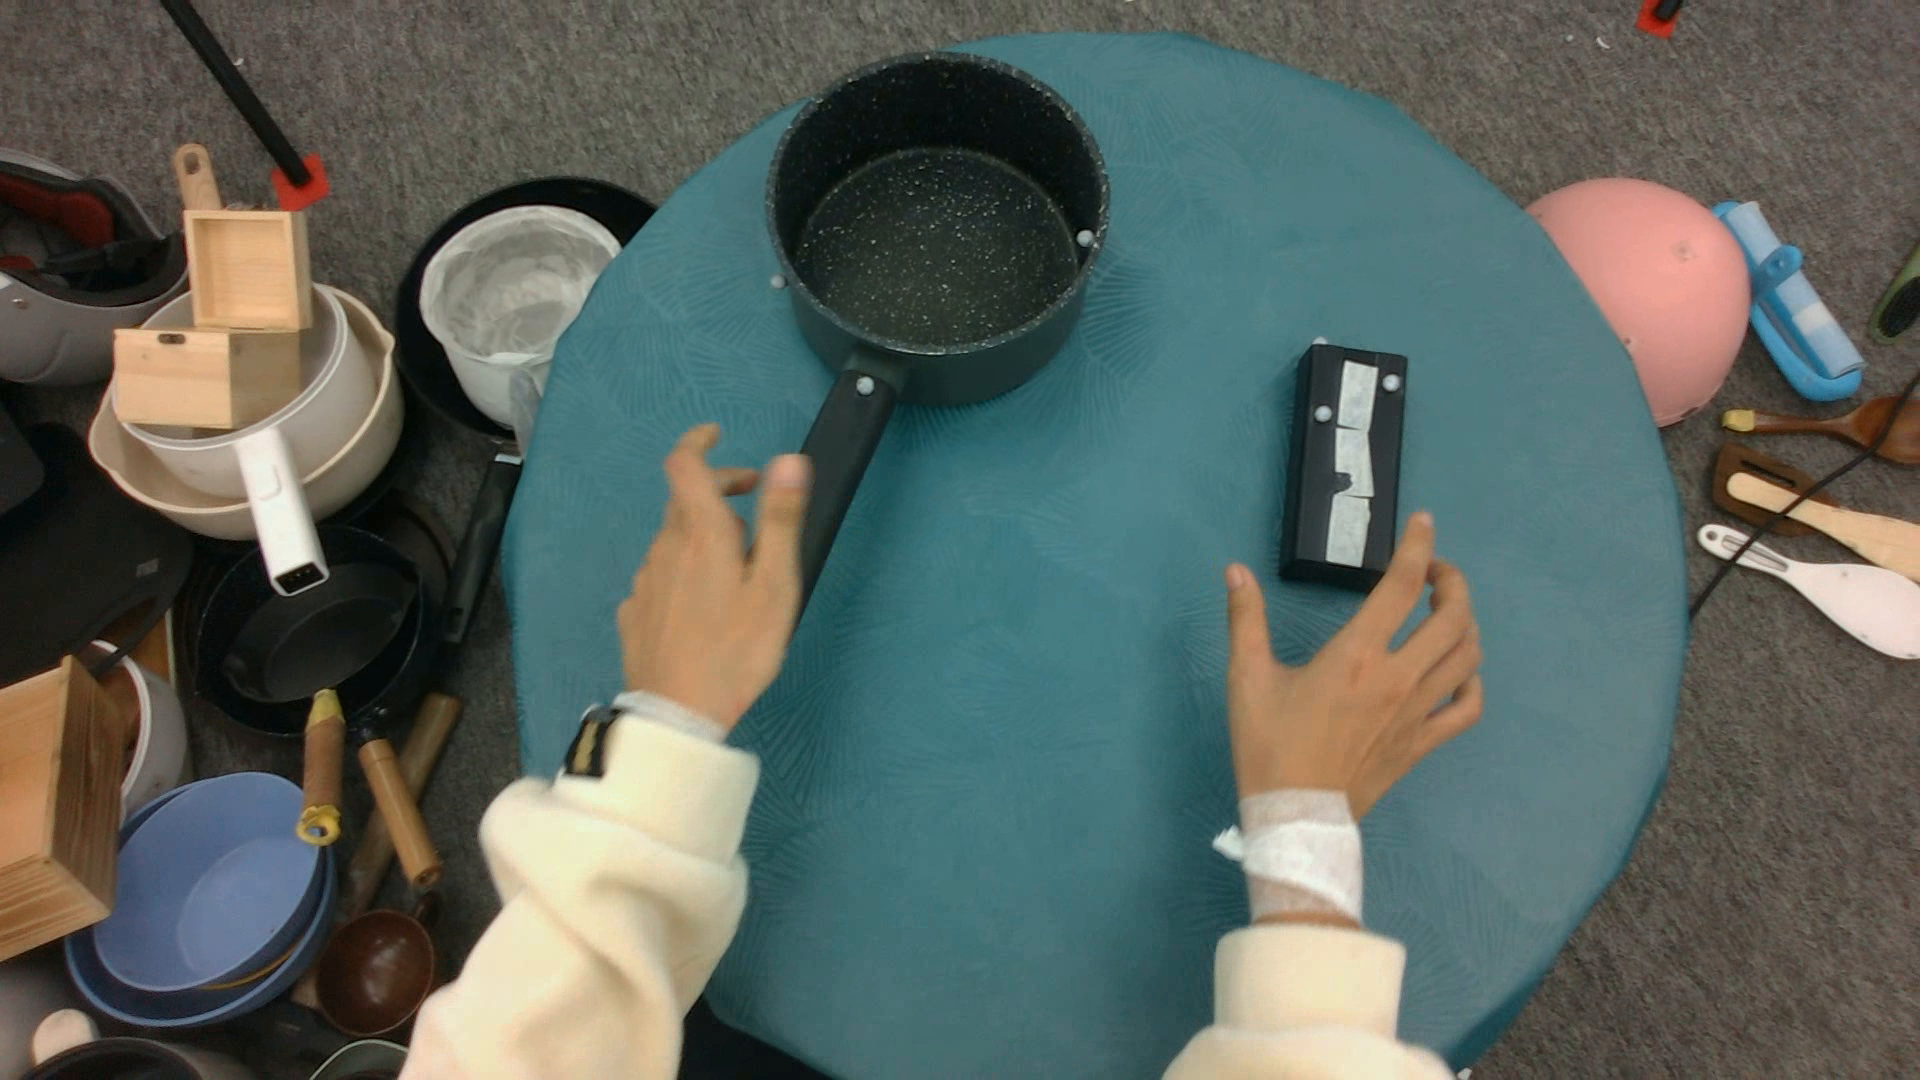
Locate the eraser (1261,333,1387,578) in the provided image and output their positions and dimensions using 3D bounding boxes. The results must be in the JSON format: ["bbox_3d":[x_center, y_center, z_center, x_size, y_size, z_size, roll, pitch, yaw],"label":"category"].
[{"bbox_3d":[0.187,-0.045,0.708,0.053,0.030,0.126,9,71,2],"label":"eraser"}]

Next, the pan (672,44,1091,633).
[{"bbox_3d":[-0.050,-0.095,0.686,0.172,0.086,0.330,21,69,6],"label":"pan"}]
